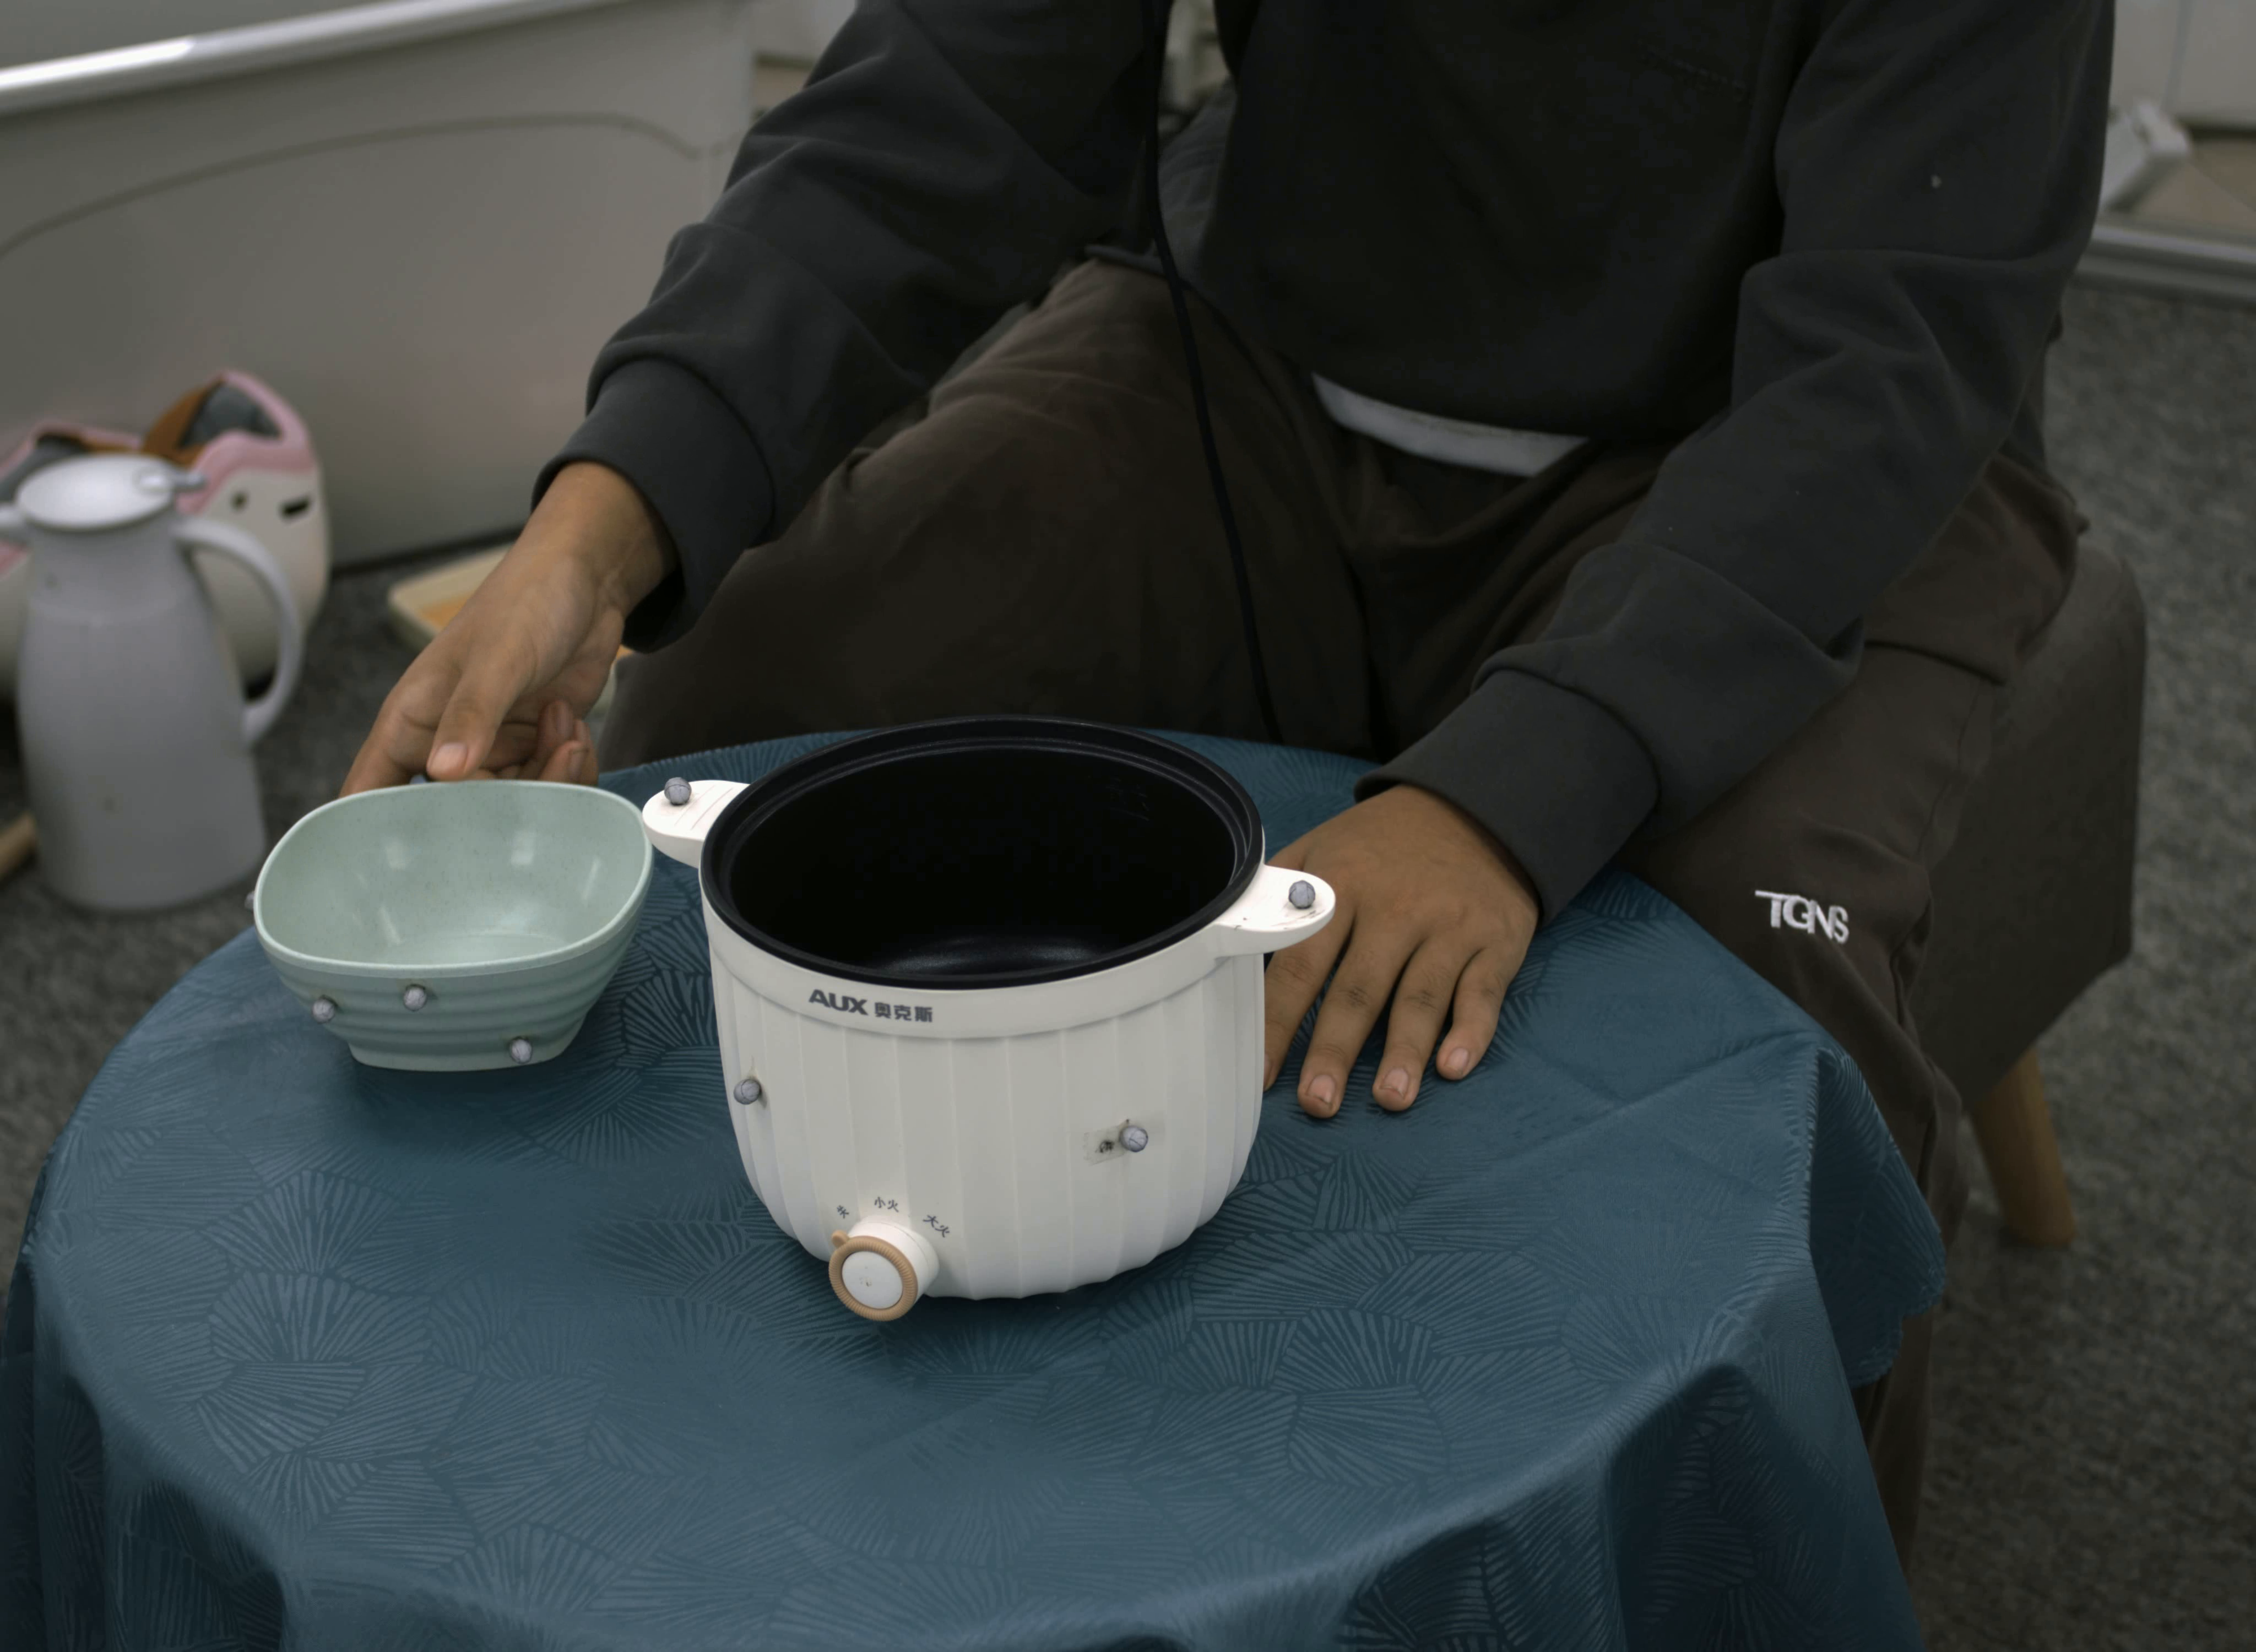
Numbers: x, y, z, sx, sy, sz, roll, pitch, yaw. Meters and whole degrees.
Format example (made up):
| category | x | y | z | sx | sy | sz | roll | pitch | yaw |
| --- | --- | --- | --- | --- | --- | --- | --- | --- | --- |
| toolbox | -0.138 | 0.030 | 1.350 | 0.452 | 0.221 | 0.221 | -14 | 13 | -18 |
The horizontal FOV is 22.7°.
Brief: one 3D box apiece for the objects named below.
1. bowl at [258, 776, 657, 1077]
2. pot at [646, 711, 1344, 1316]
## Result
| category | x | y | z | sx | sy | sz | roll | pitch | yaw |
| --- | --- | --- | --- | --- | --- | --- | --- | --- | --- |
| bowl | -0.233 | 0.042 | 1.979 | 0.151 | 0.058 | 0.154 | -2 | 29 | 2 |
| pot | -0.043 | 0.064 | 1.828 | 0.238 | 0.141 | 0.193 | 6 | 25 | 20 |
